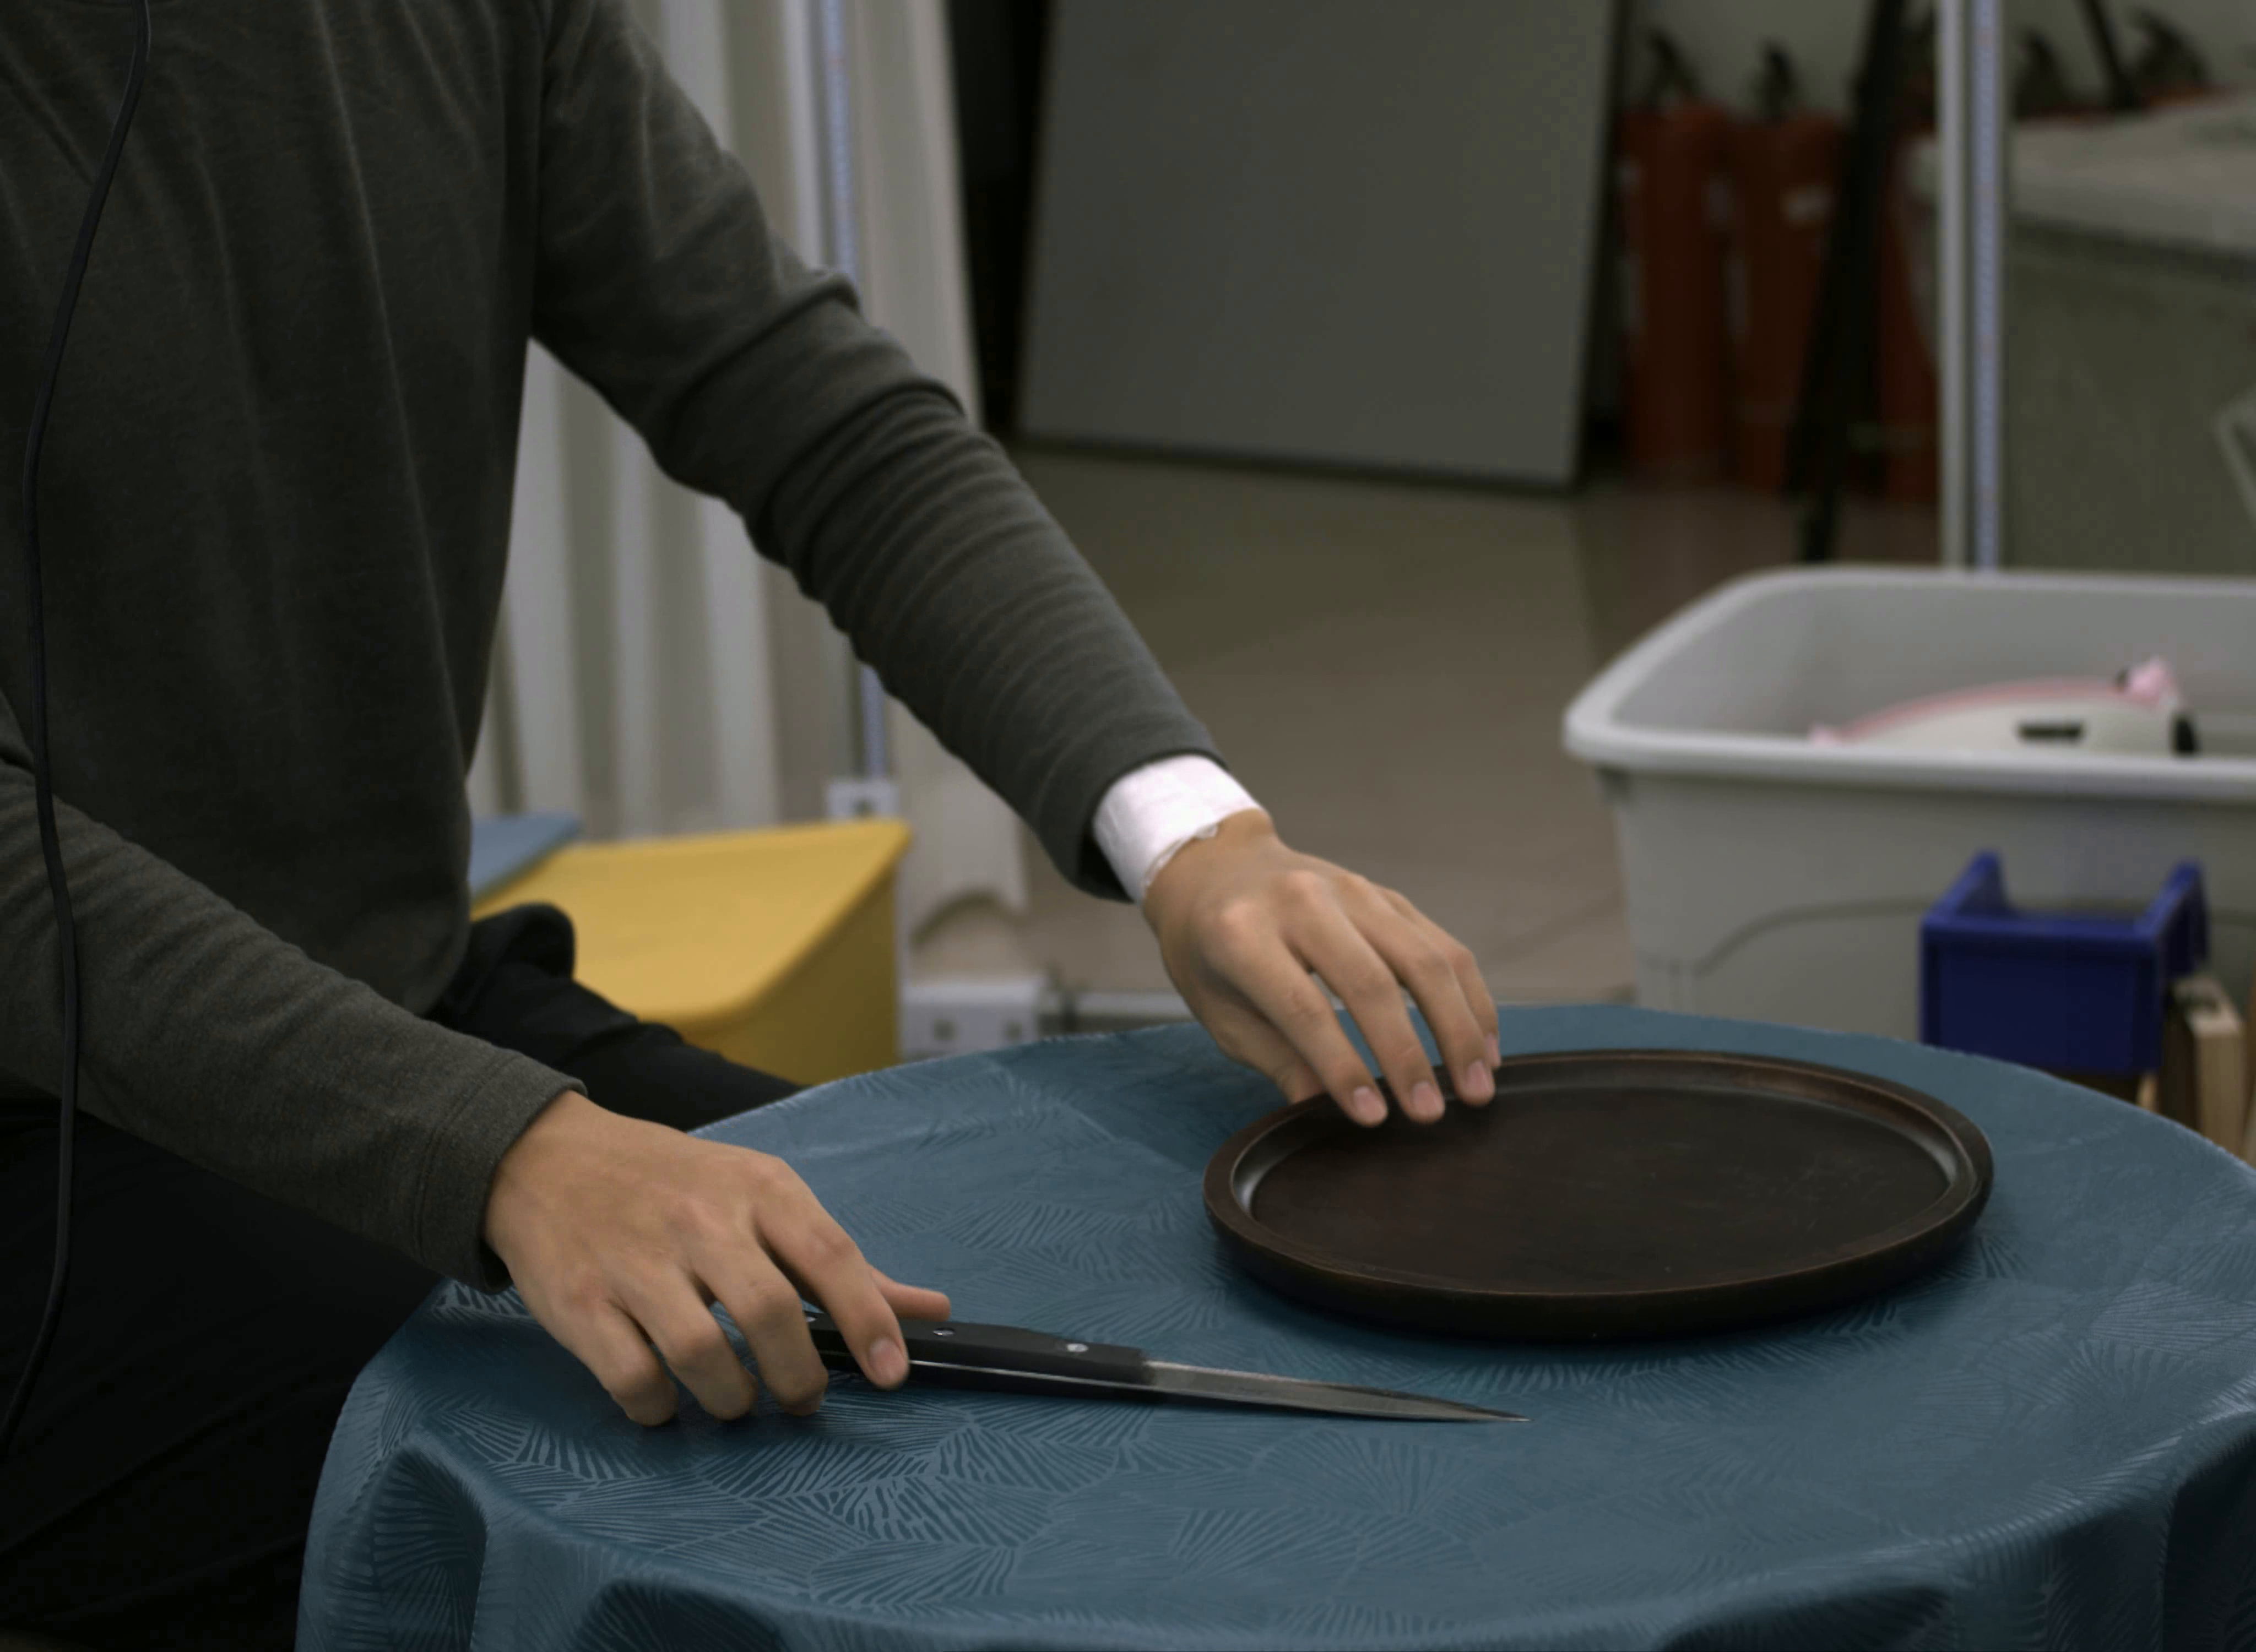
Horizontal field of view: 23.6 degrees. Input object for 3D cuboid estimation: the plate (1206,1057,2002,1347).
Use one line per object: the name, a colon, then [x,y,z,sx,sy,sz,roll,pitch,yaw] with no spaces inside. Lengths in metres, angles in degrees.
plate: [0.150,0.116,1.703,0.251,0.029,0.255,-3,14,0]

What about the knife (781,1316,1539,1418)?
knife: [0.006,0.162,1.581,0.238,0.016,0.024,4,17,20]
